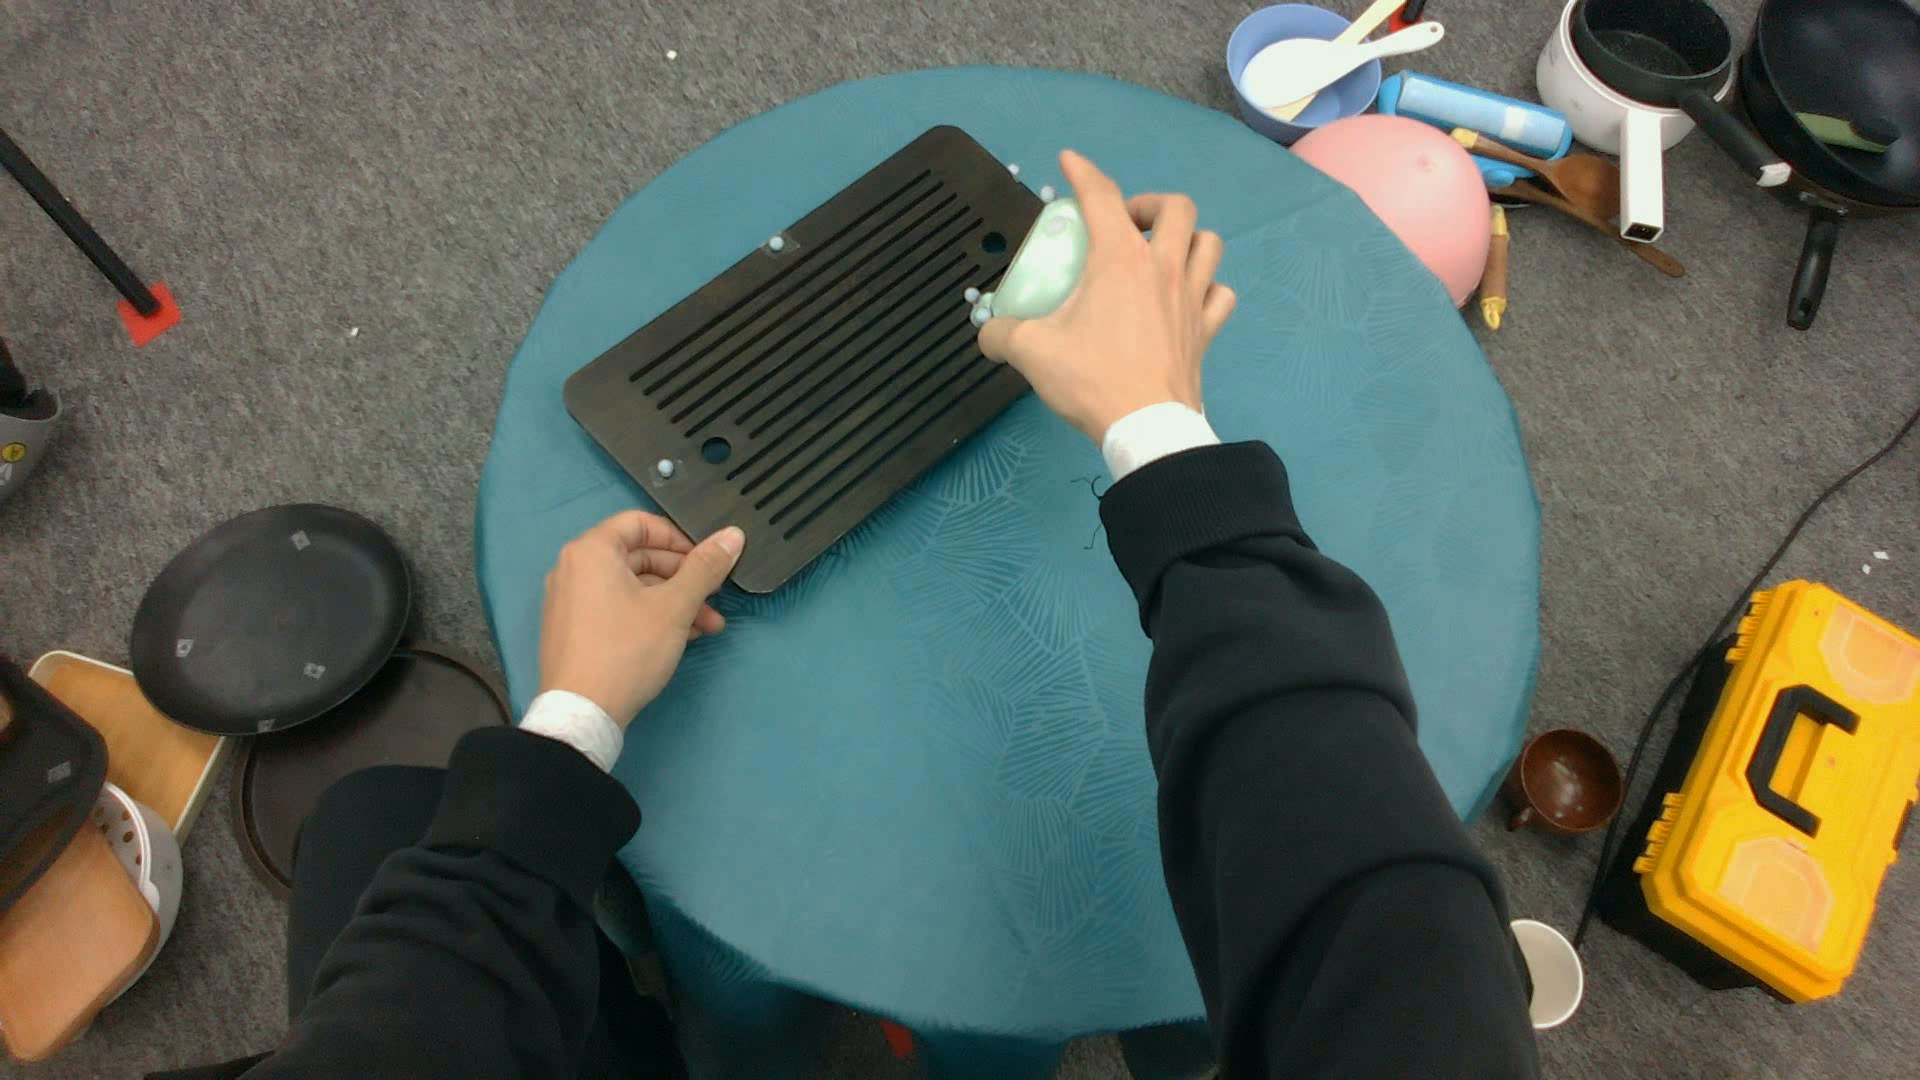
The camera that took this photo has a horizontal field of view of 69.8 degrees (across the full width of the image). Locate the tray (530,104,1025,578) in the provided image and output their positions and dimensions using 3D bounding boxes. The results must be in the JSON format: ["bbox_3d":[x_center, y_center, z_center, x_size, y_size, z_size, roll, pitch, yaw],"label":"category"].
[{"bbox_3d":[-0.075,-0.124,0.792,0.170,0.018,0.307,44,68,12],"label":"tray"}]

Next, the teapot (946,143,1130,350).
[{"bbox_3d":[0.043,-0.139,0.689,0.075,0.143,0.088,30,66,-6],"label":"teapot"}]
